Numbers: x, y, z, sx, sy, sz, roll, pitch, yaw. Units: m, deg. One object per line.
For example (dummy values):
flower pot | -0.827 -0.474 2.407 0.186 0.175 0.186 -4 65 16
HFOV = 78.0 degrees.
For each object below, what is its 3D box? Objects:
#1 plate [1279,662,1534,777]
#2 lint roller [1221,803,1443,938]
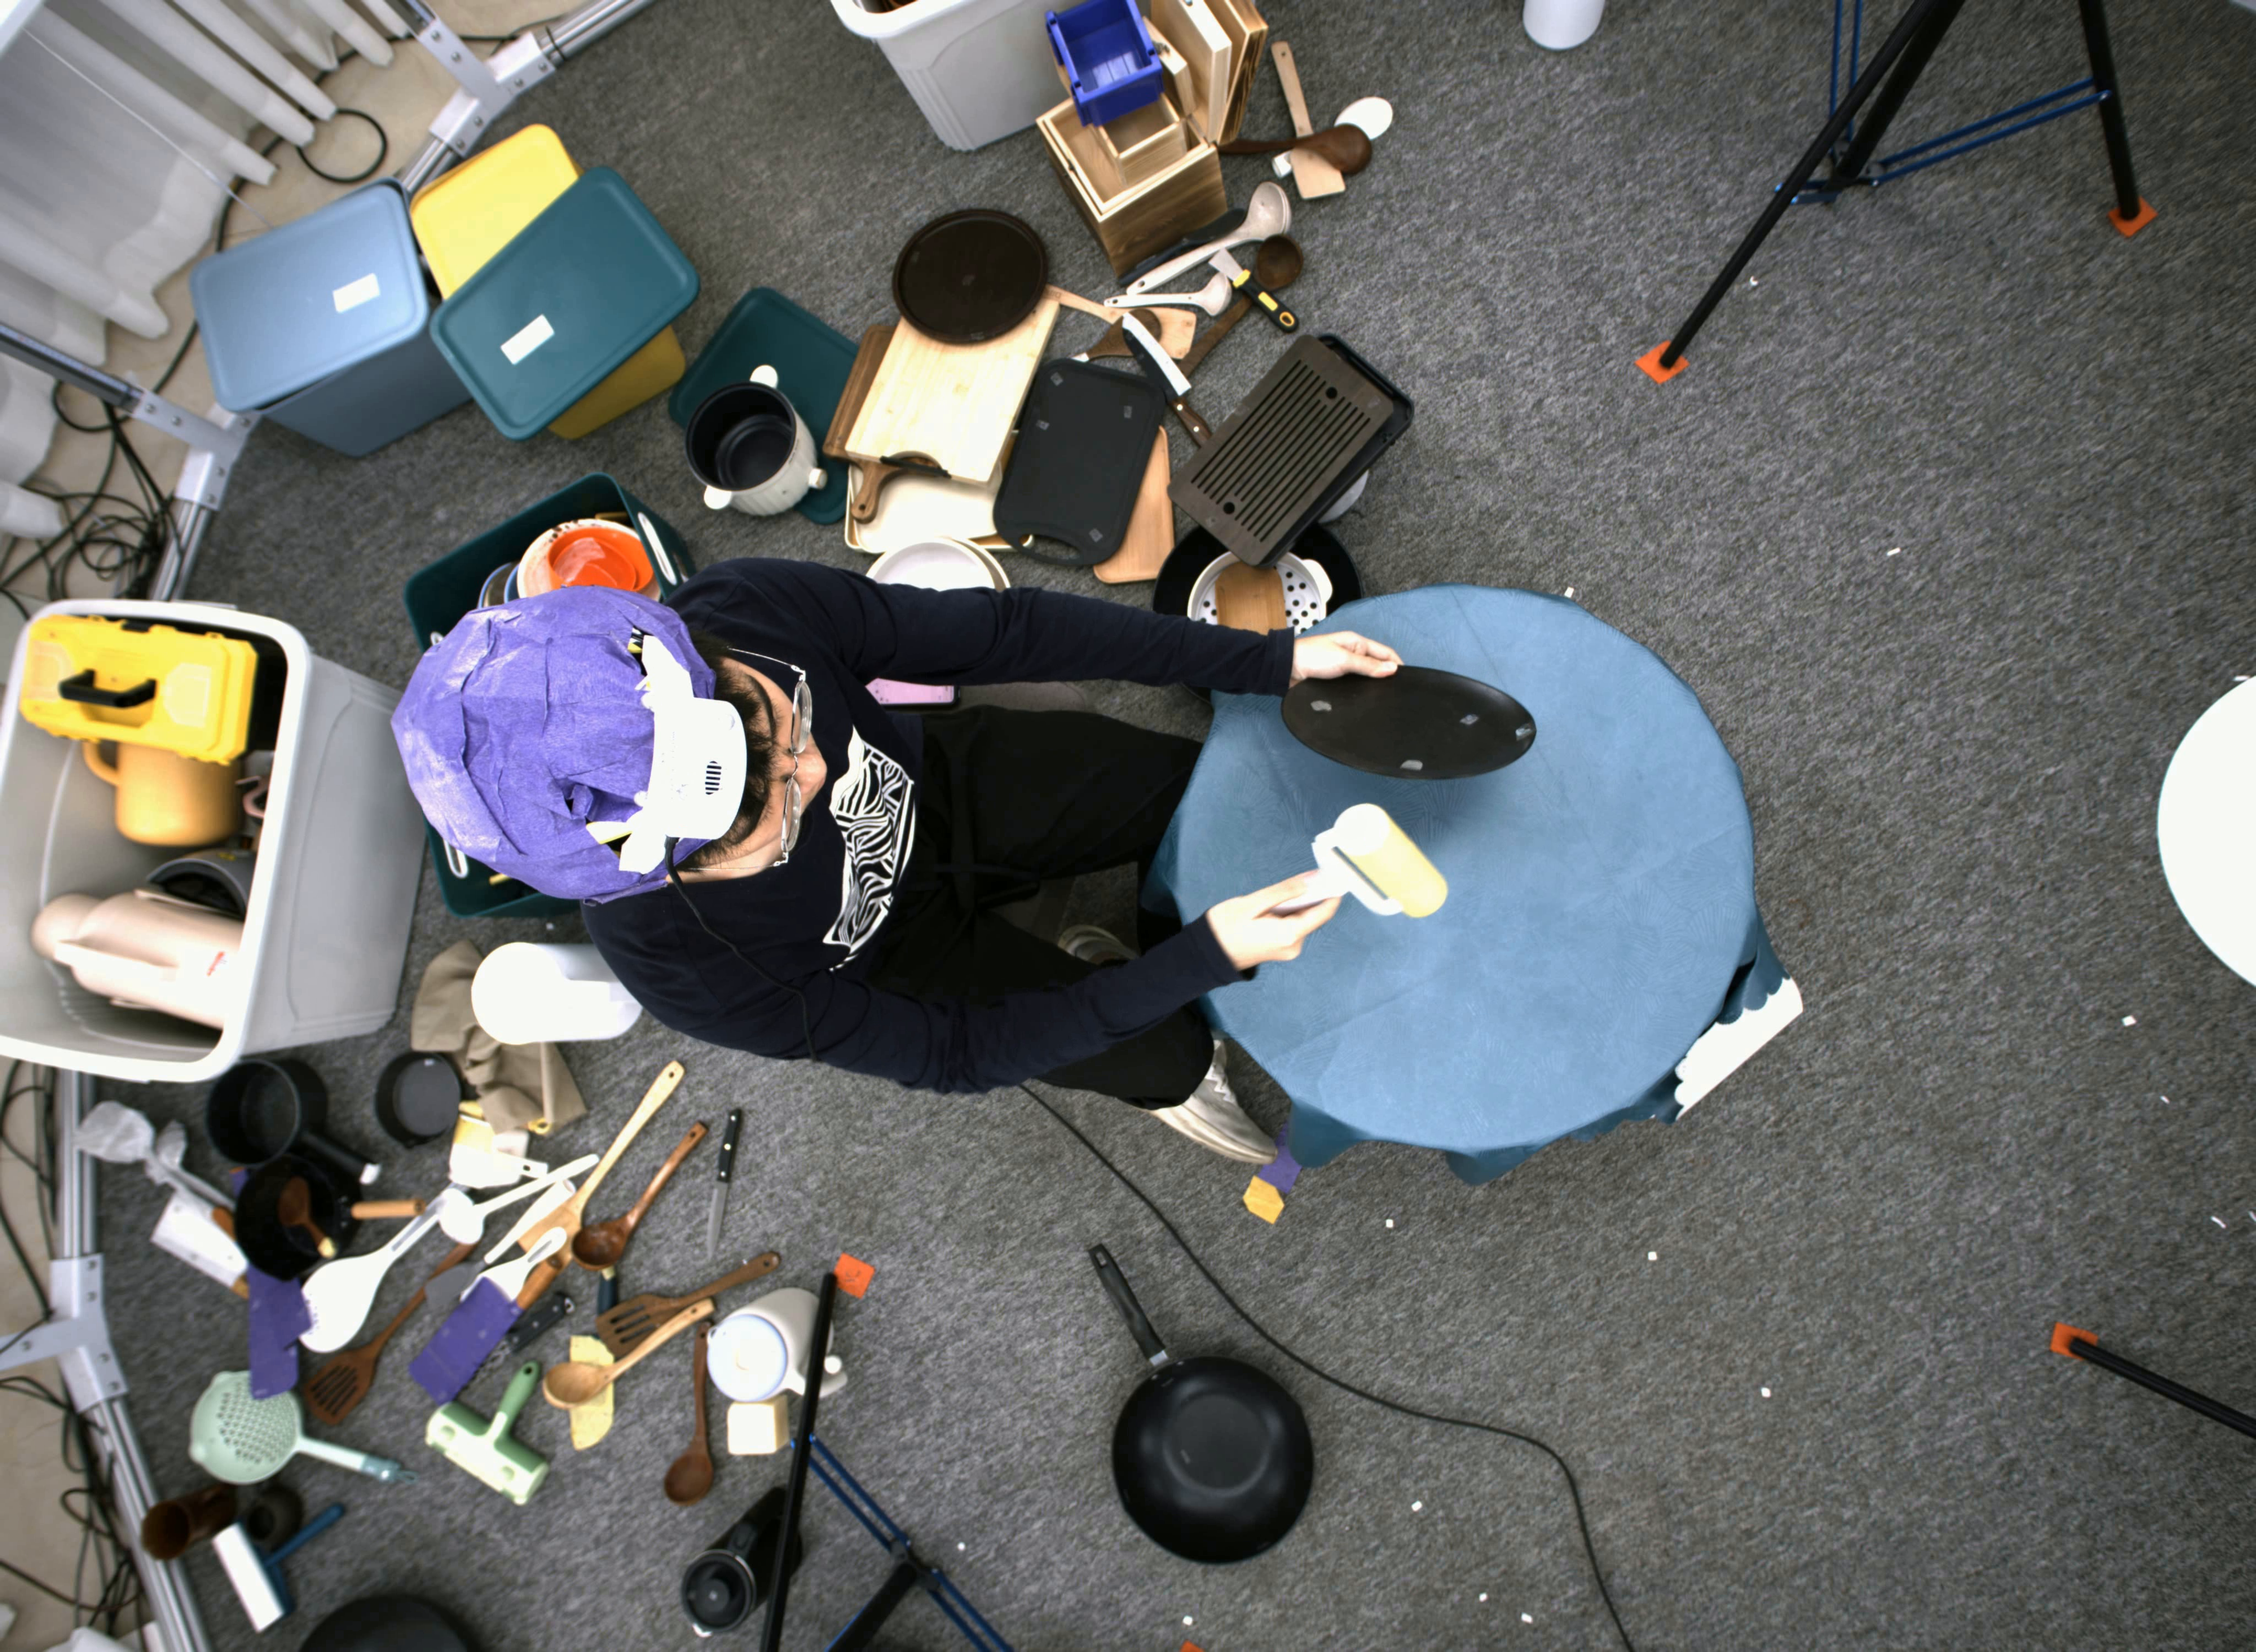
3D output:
plate | 0.266 -0.101 1.323 0.245 0.238 0.024 7 122 11
lint roller | 0.172 0.067 1.255 0.194 0.176 0.050 -32 54 19
